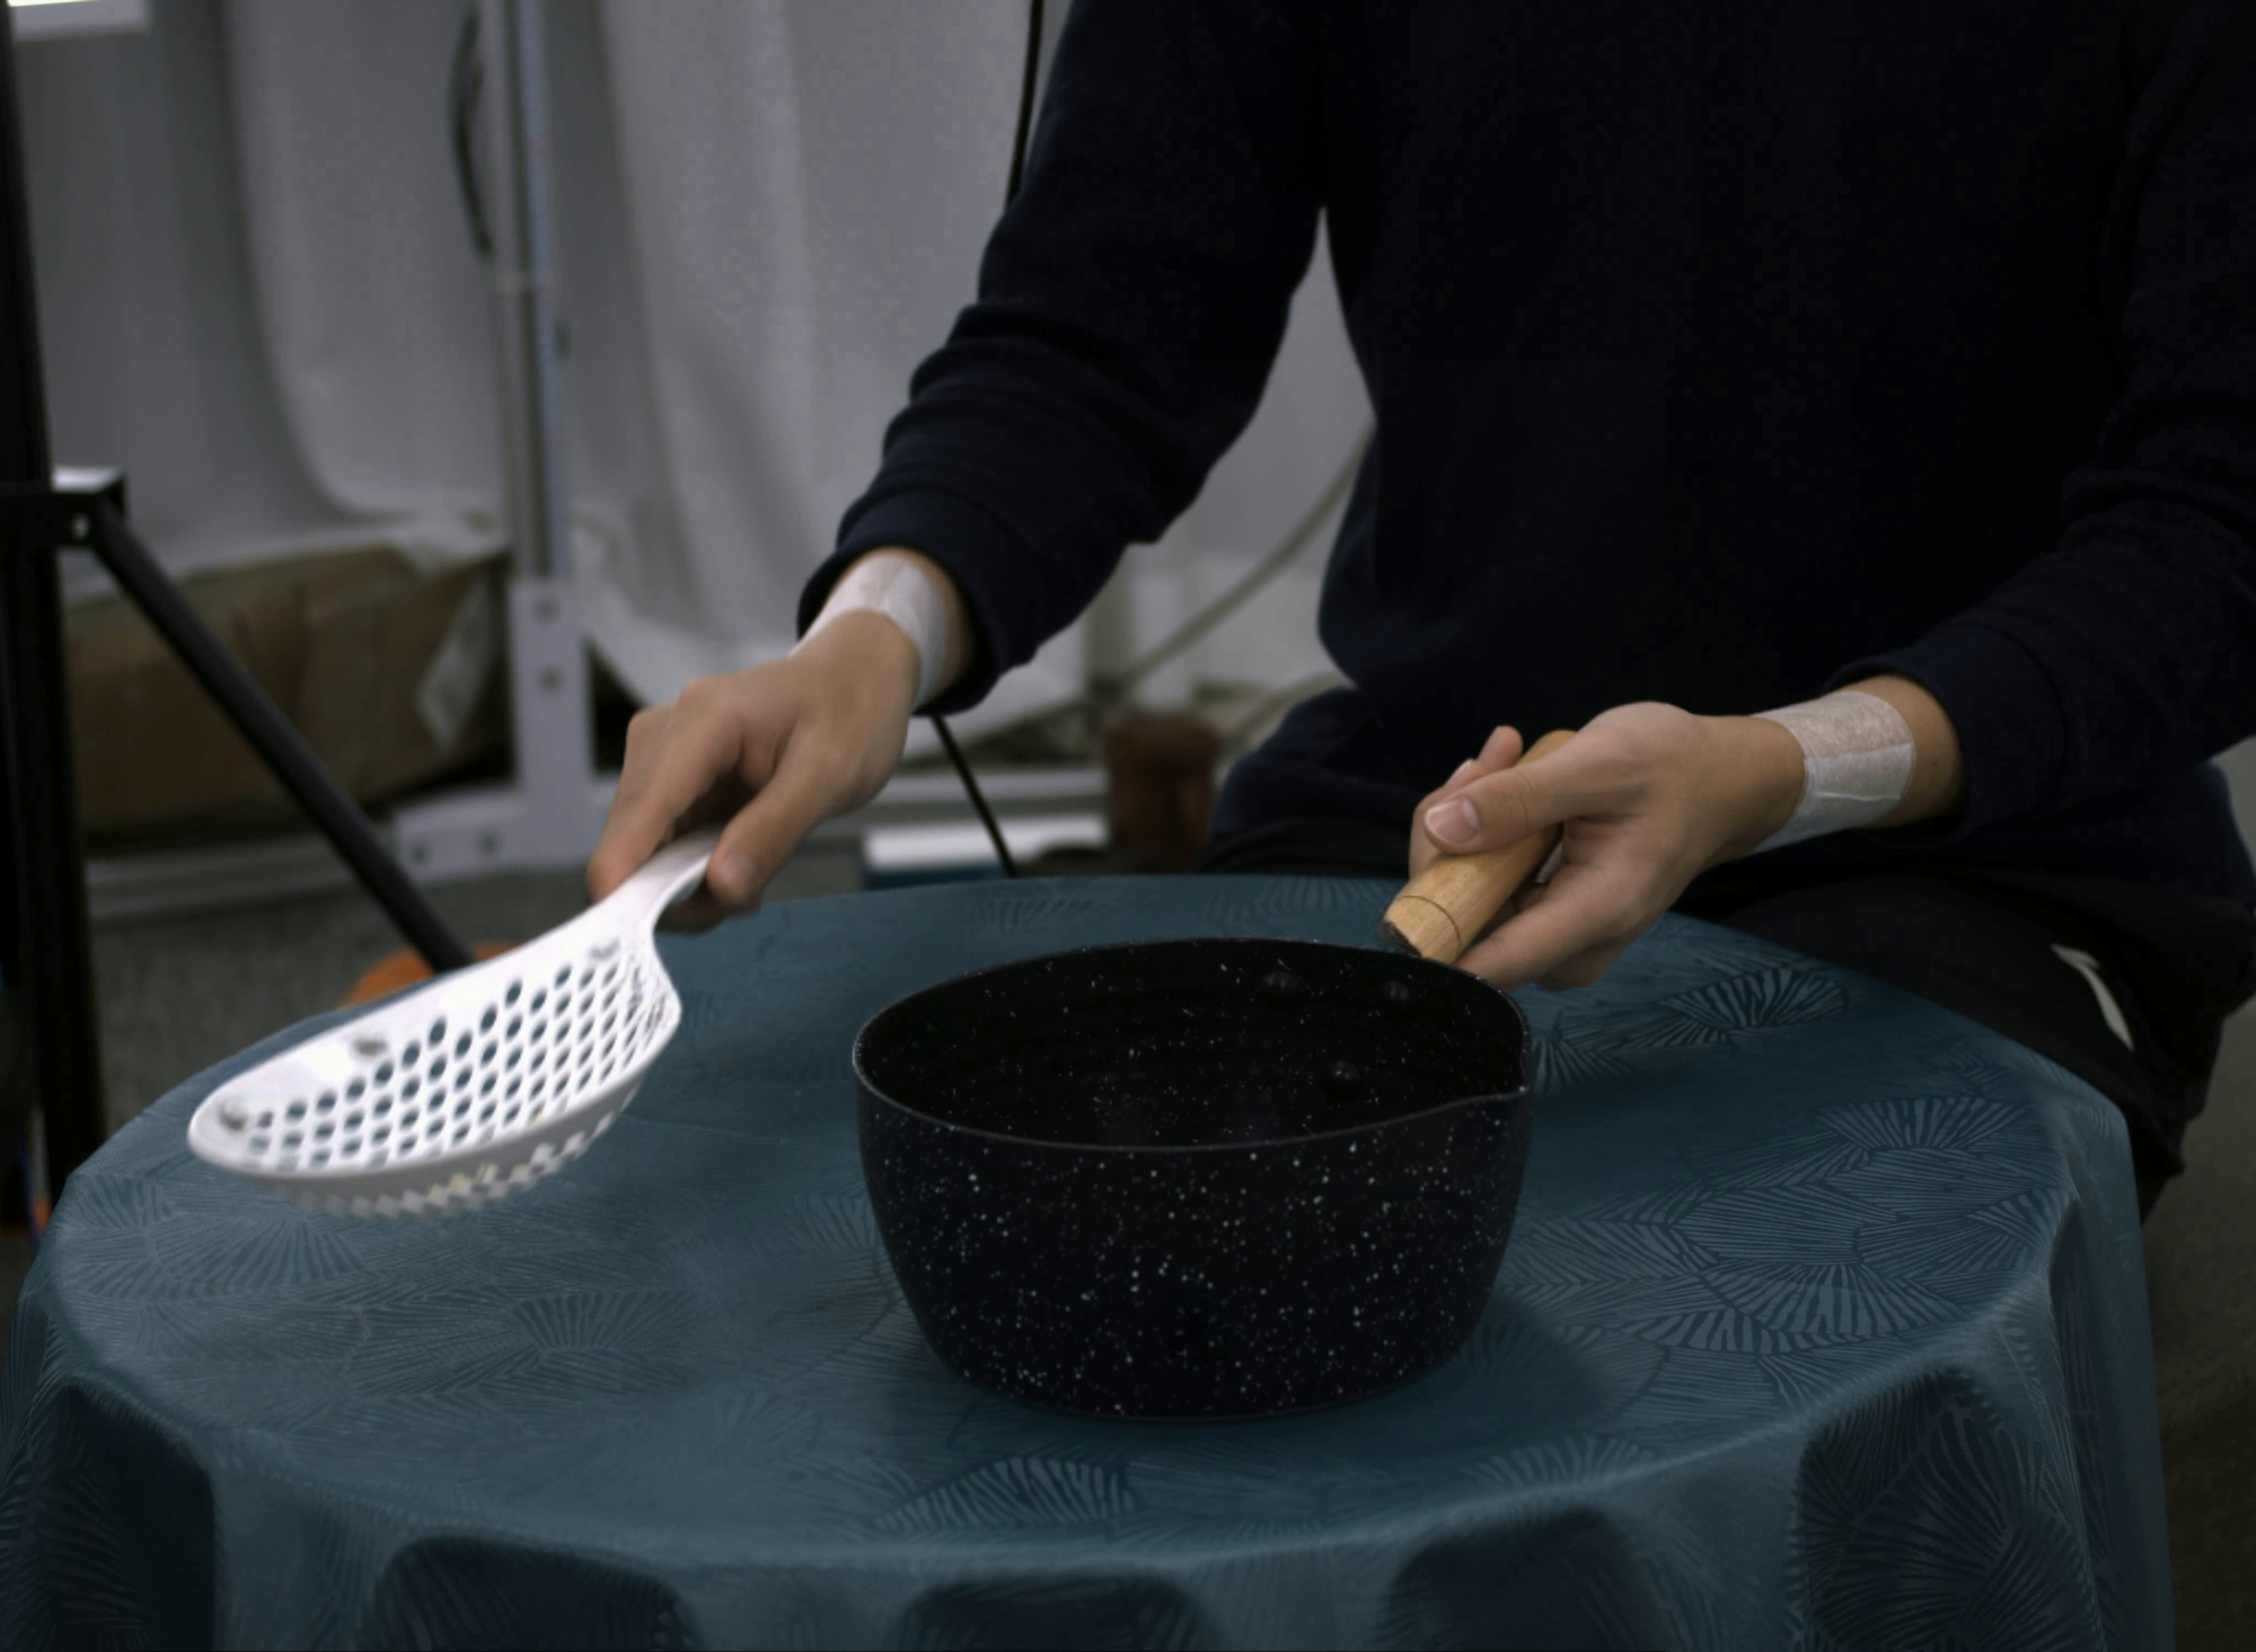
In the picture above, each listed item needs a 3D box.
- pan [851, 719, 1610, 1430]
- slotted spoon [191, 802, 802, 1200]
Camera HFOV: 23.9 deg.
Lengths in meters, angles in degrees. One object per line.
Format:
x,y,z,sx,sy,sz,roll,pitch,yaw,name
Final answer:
0.056,0.065,1.503,0.211,0.108,0.337,5,19,29,pan
-0.155,0.037,1.574,0.138,0.050,0.345,-7,20,20,slotted spoon
